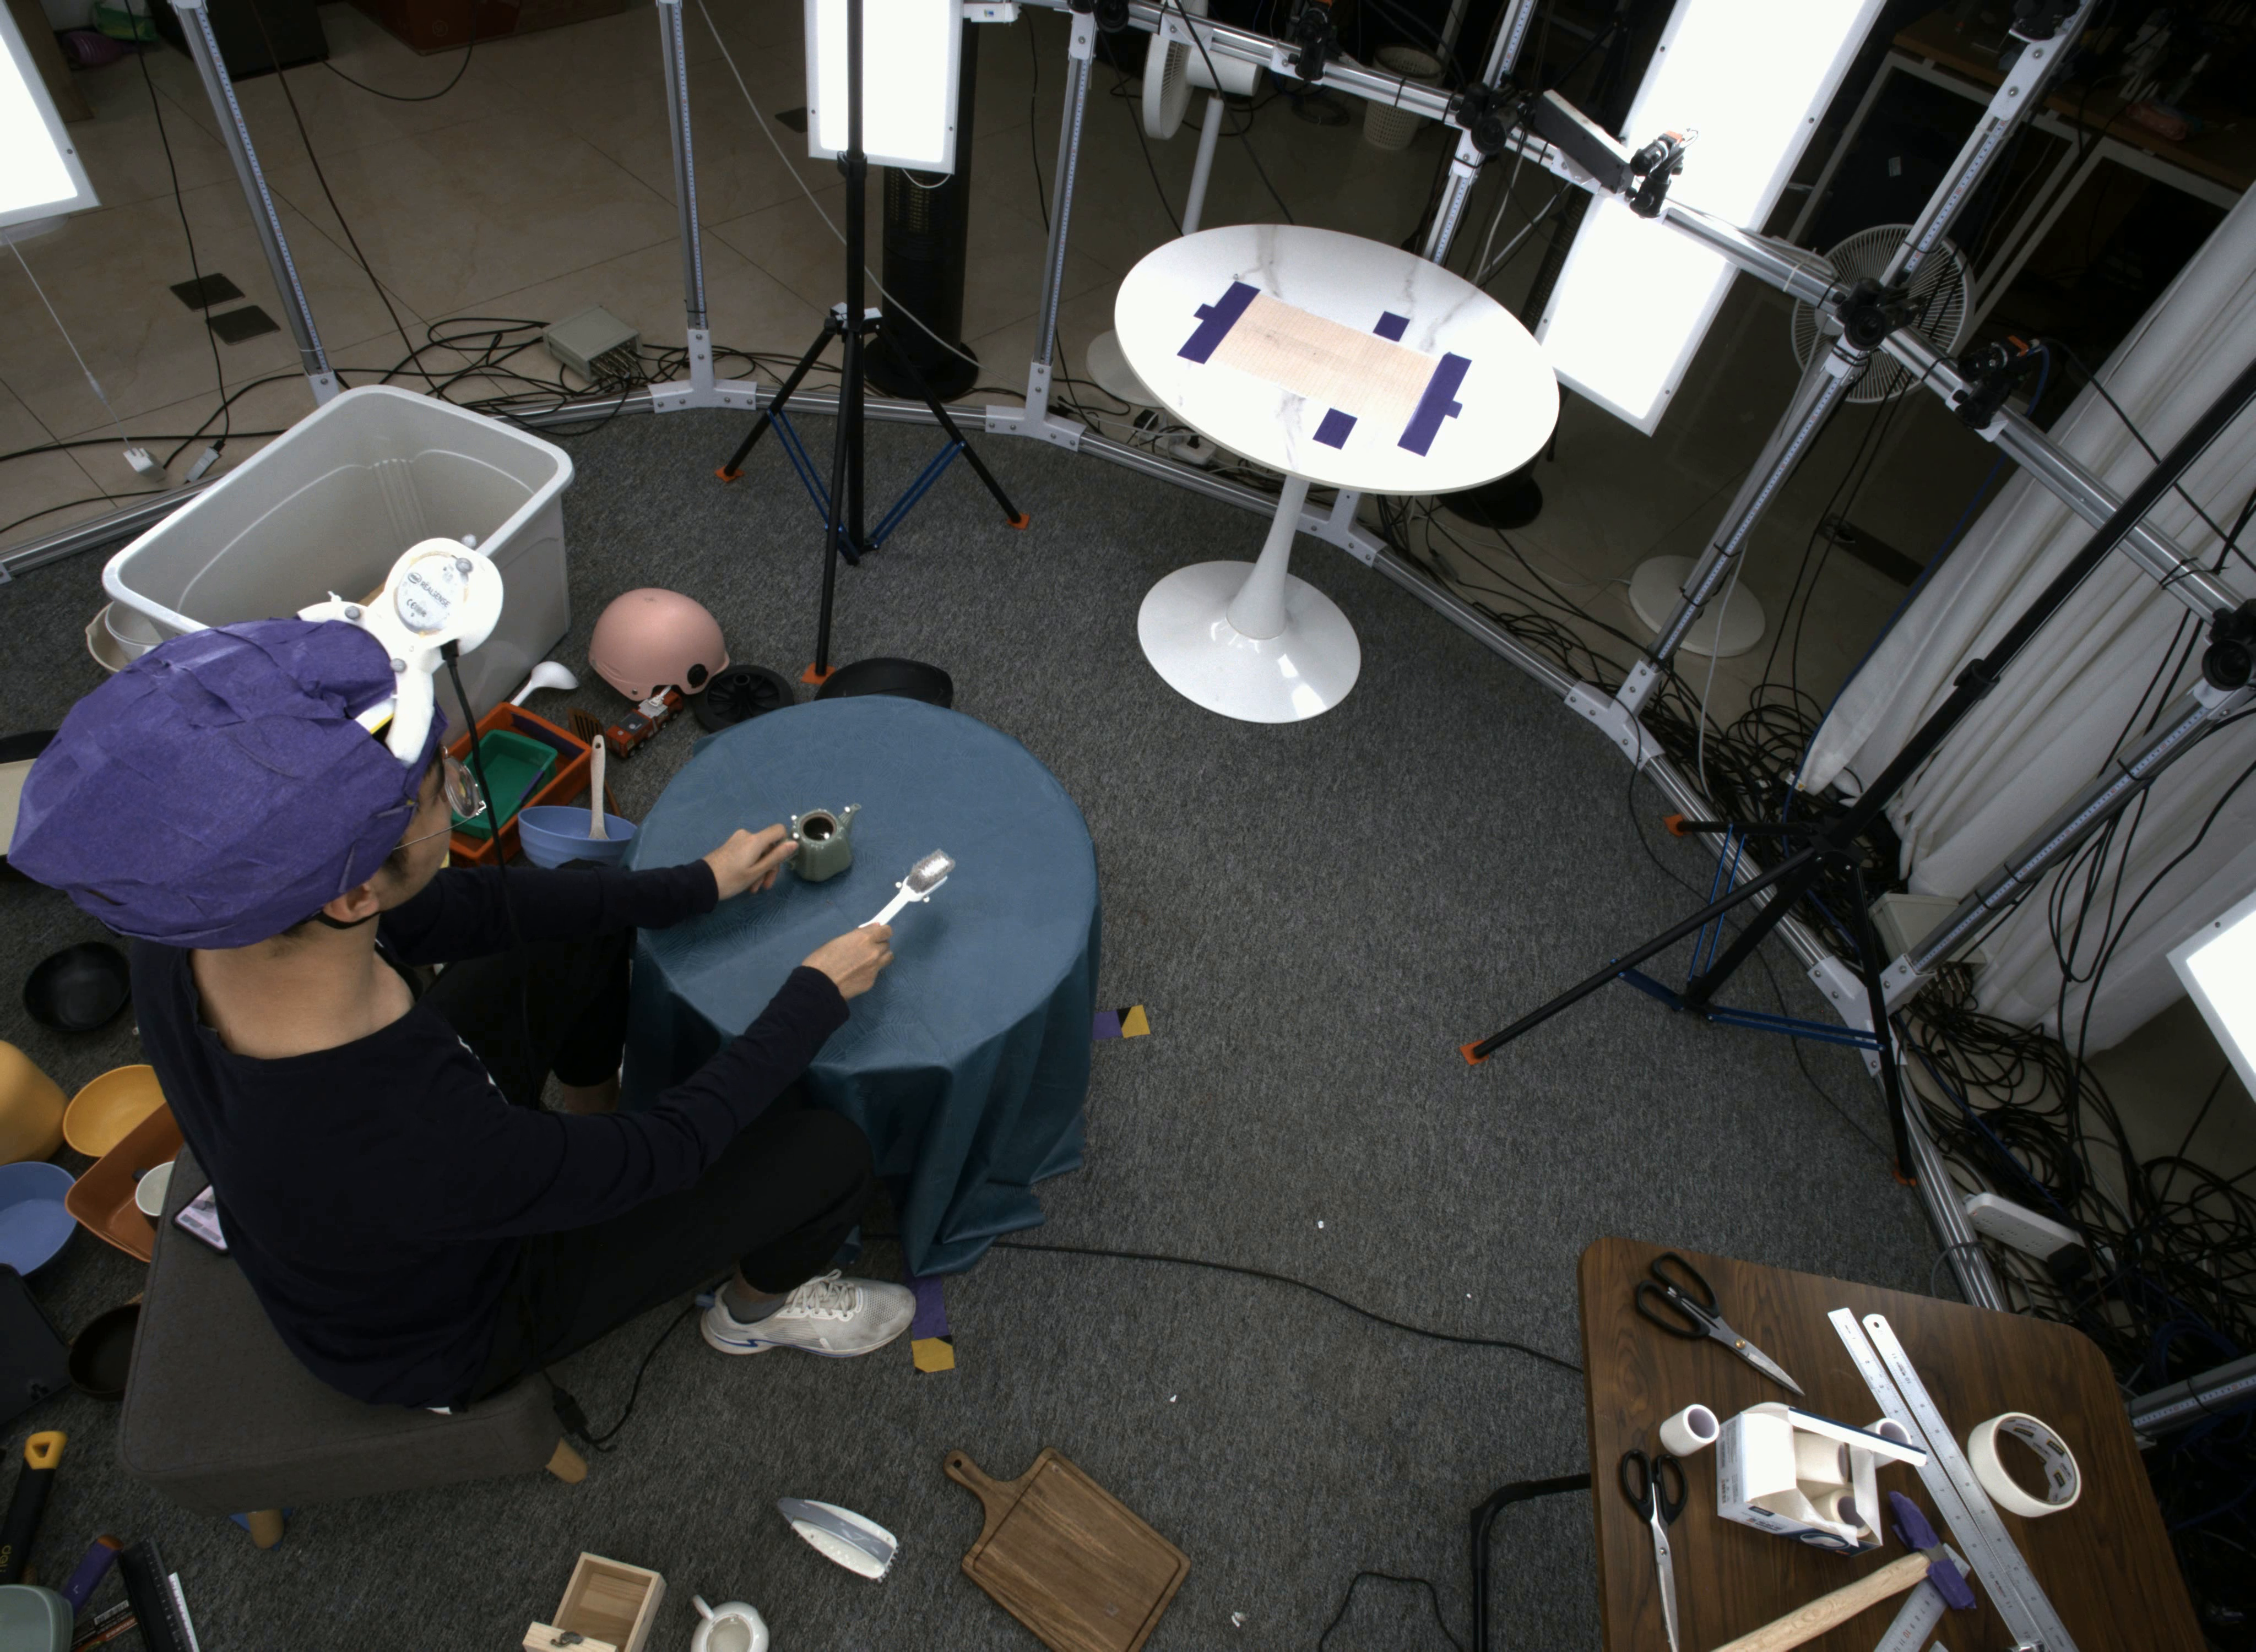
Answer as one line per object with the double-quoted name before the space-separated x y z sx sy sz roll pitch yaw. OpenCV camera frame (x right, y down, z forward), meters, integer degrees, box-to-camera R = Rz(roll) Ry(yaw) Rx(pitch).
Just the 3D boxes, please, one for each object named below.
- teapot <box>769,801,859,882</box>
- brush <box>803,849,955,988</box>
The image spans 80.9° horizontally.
"teapot" -0.400 0.019 1.668 0.133 0.077 0.077 -33 62 -32
"brush" -0.300 0.107 1.574 0.034 0.051 0.243 41 53 8
